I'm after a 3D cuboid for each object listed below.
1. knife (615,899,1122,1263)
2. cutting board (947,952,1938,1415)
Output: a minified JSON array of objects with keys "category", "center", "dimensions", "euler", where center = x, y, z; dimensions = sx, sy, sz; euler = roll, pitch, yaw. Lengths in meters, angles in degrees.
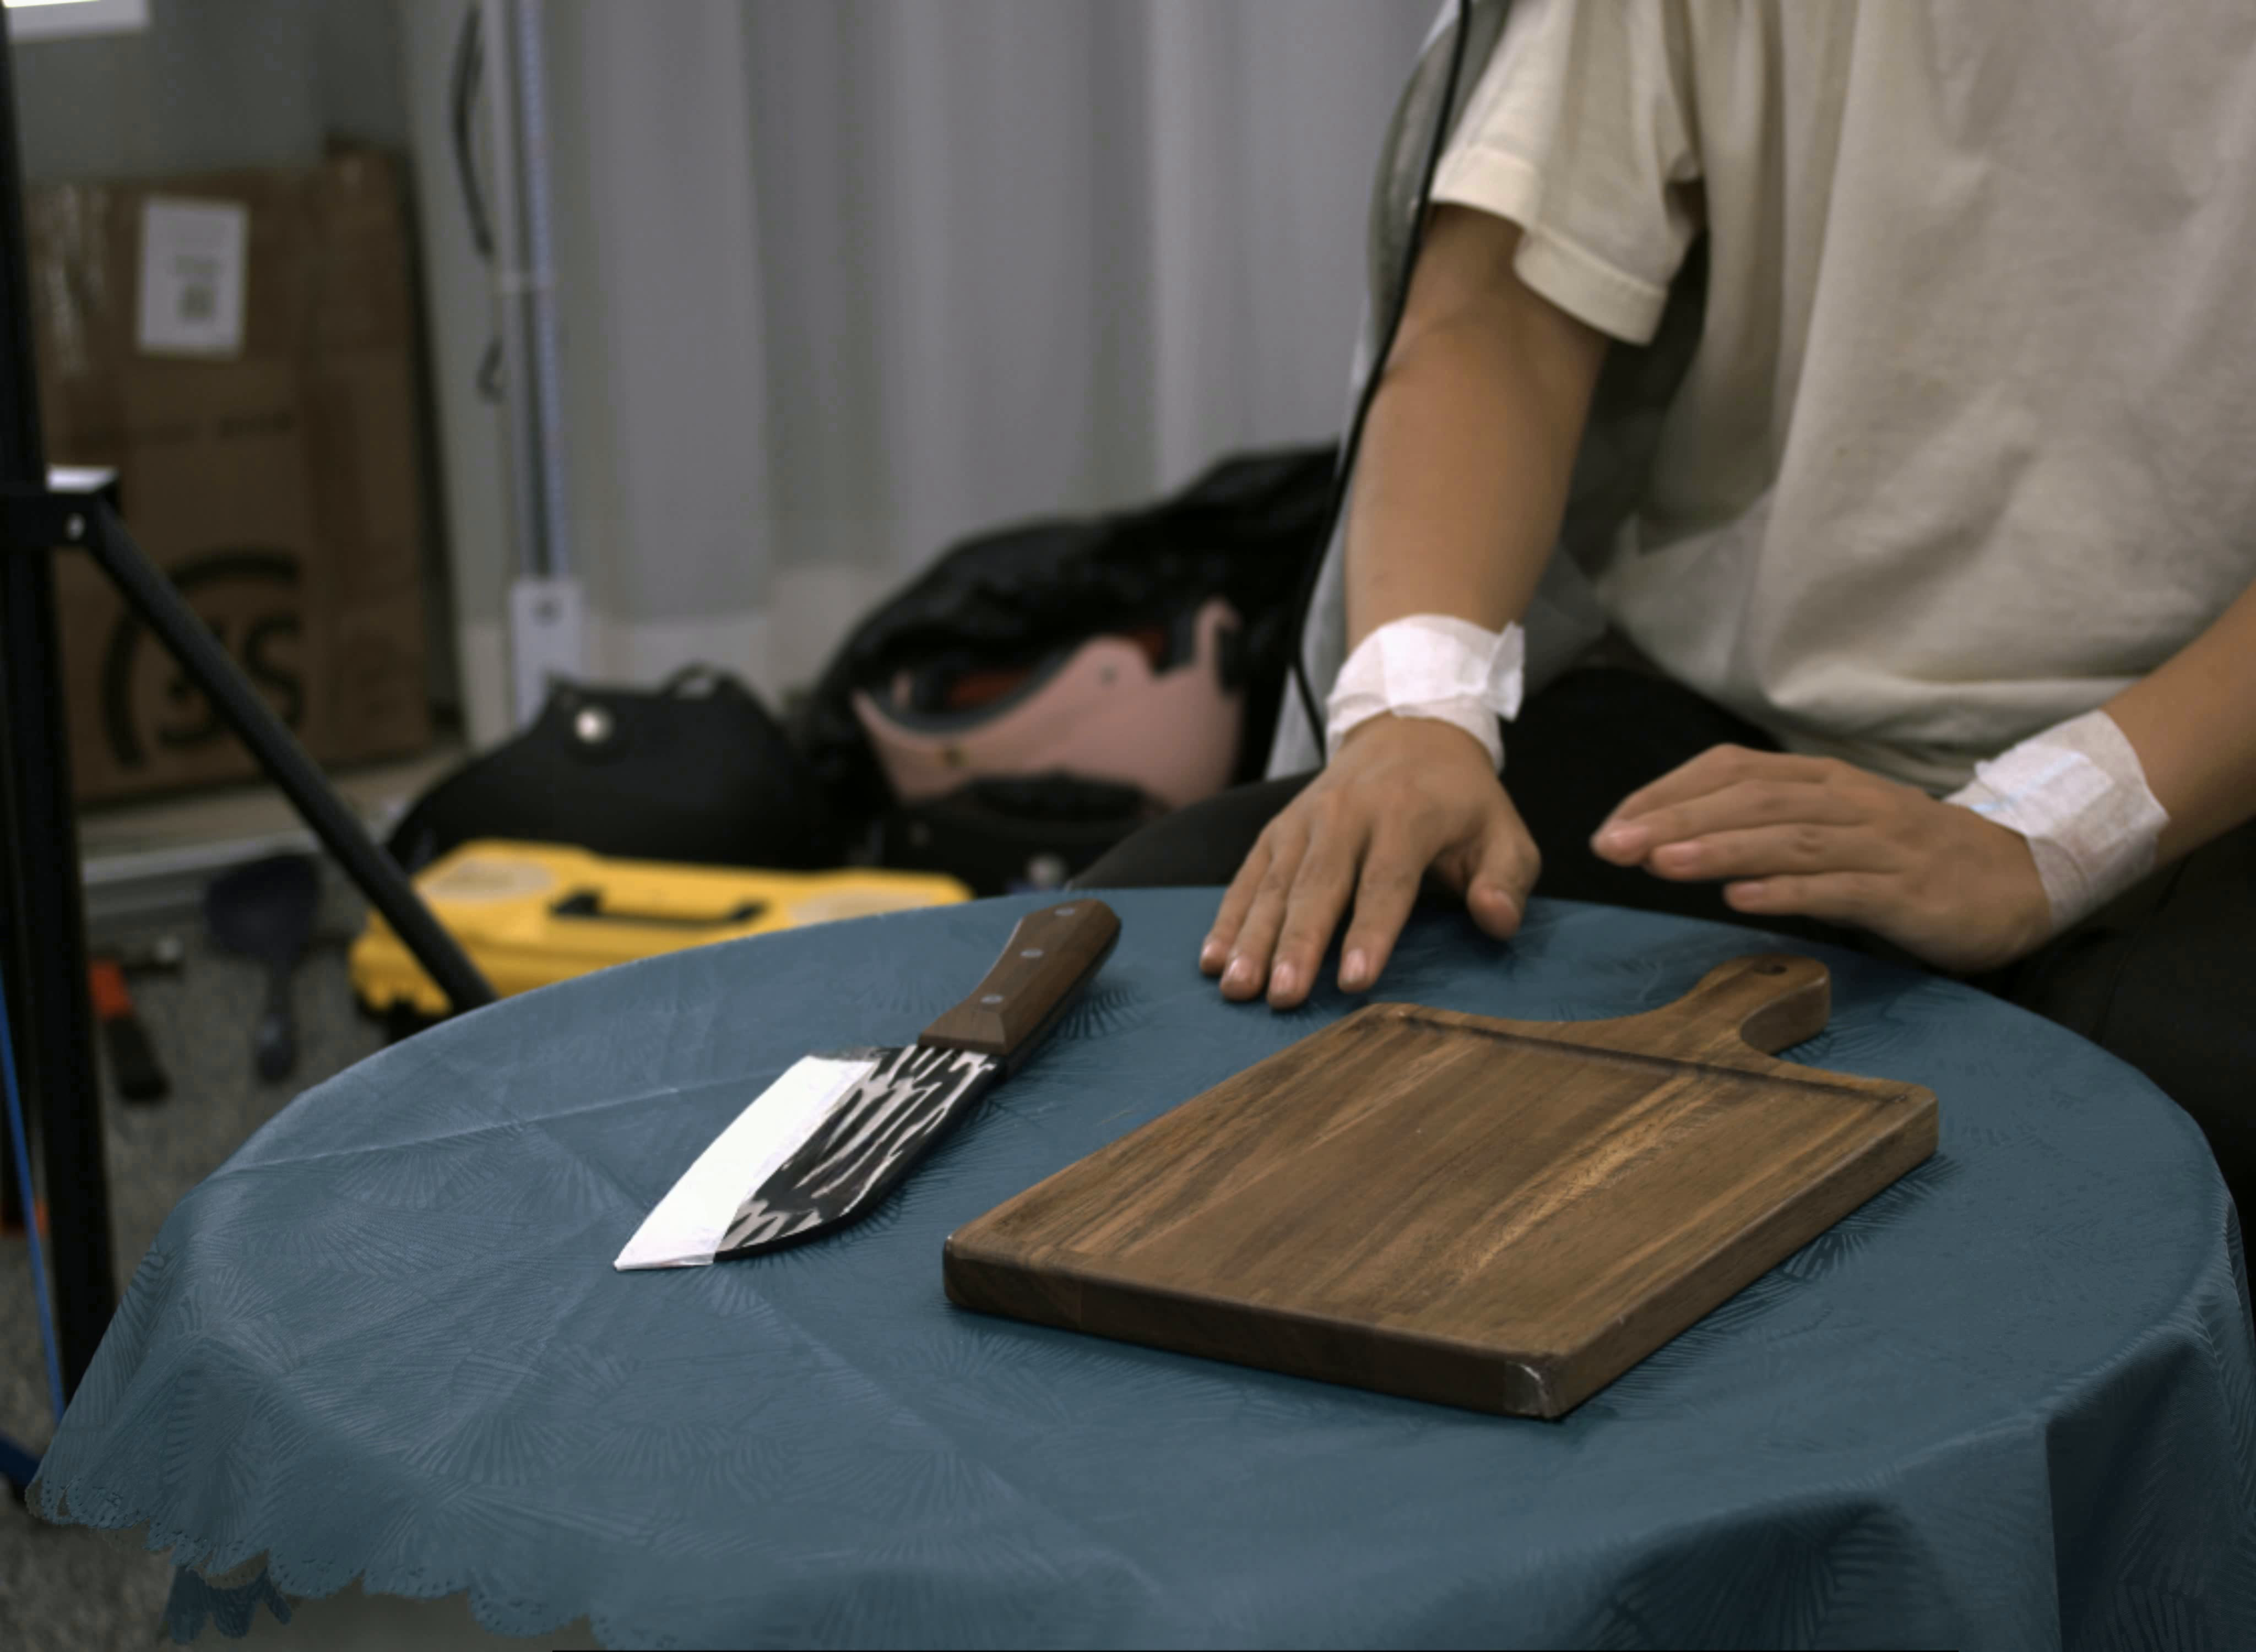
[{"category":"knife","center":[-0.075,0.079,1.637],"dimensions":[0.069,0.024,0.296],"euler":[1,19,20]},{"category":"cutting board","center":[0.121,0.093,1.553],"dimensions":[0.205,0.023,0.345],"euler":[7,18,32]}]
